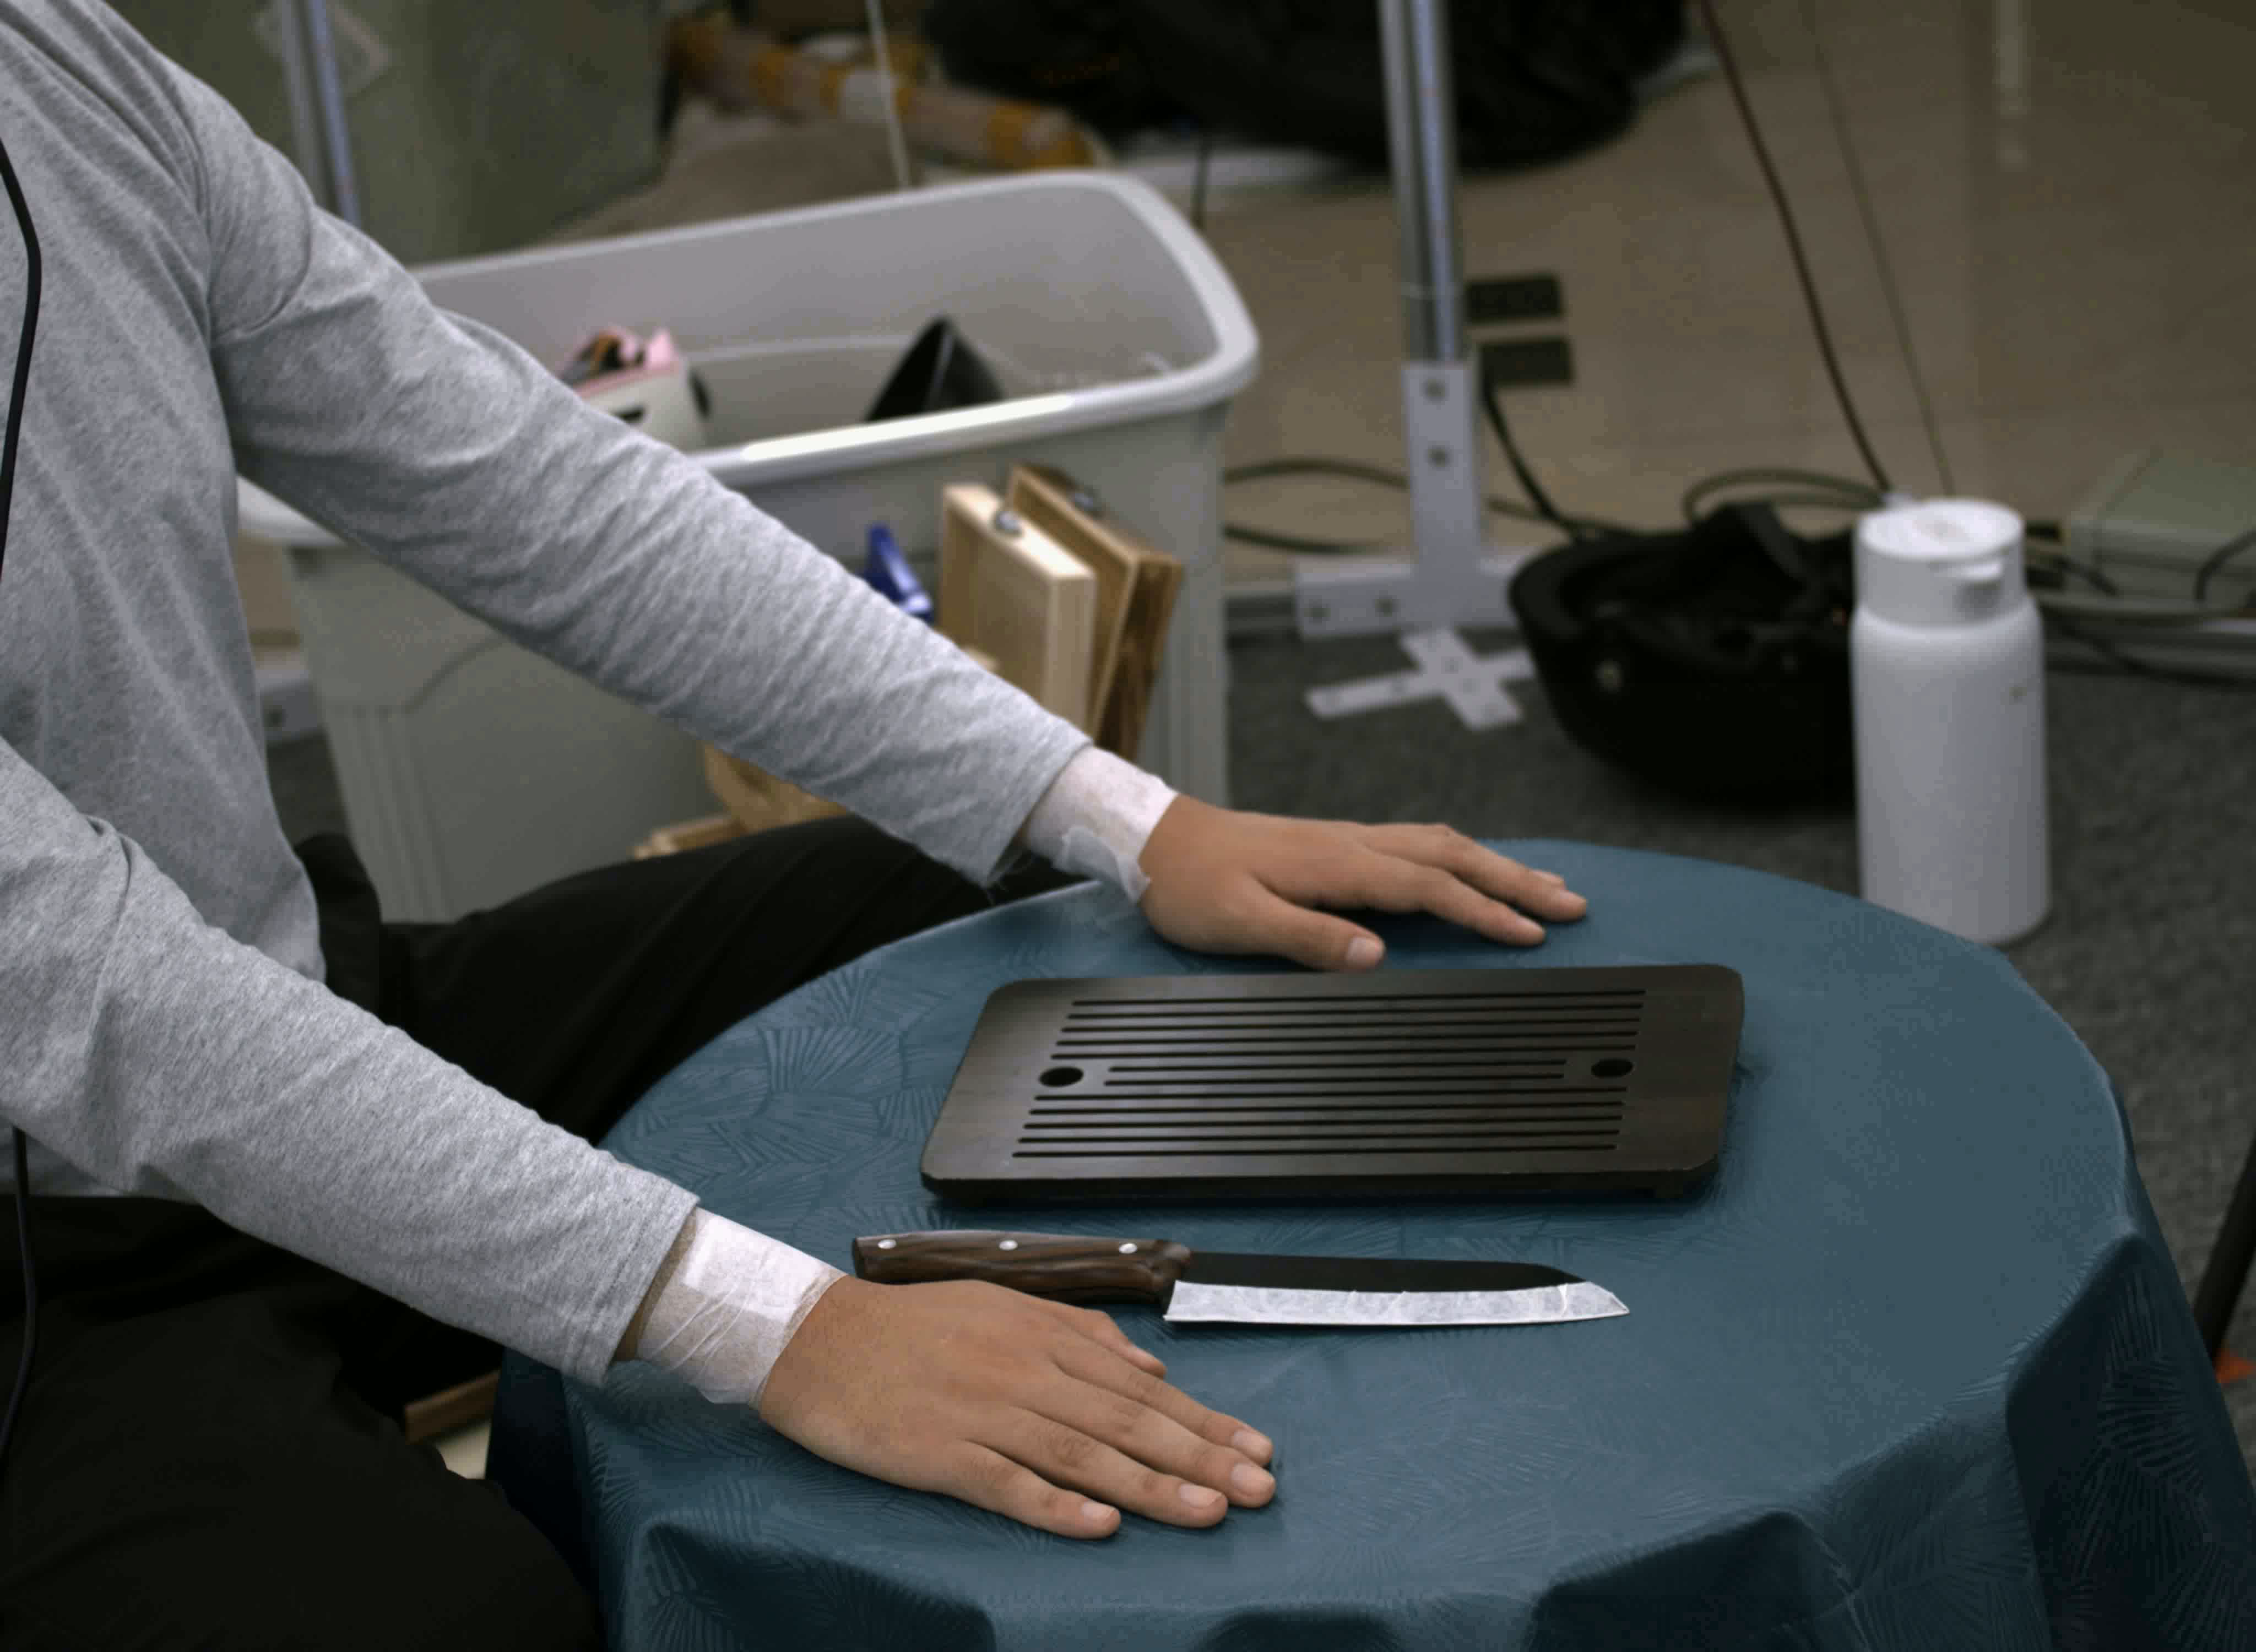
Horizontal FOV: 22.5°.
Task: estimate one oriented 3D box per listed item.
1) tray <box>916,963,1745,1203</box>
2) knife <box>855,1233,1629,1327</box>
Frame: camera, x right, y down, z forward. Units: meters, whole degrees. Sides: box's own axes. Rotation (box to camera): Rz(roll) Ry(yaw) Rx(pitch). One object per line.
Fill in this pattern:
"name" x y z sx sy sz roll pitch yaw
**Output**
"tray" 0.081 0.100 2.194 0.305 0.019 0.167 -2 25 12
"knife" 0.039 0.167 2.064 0.288 0.020 0.049 2 31 12
